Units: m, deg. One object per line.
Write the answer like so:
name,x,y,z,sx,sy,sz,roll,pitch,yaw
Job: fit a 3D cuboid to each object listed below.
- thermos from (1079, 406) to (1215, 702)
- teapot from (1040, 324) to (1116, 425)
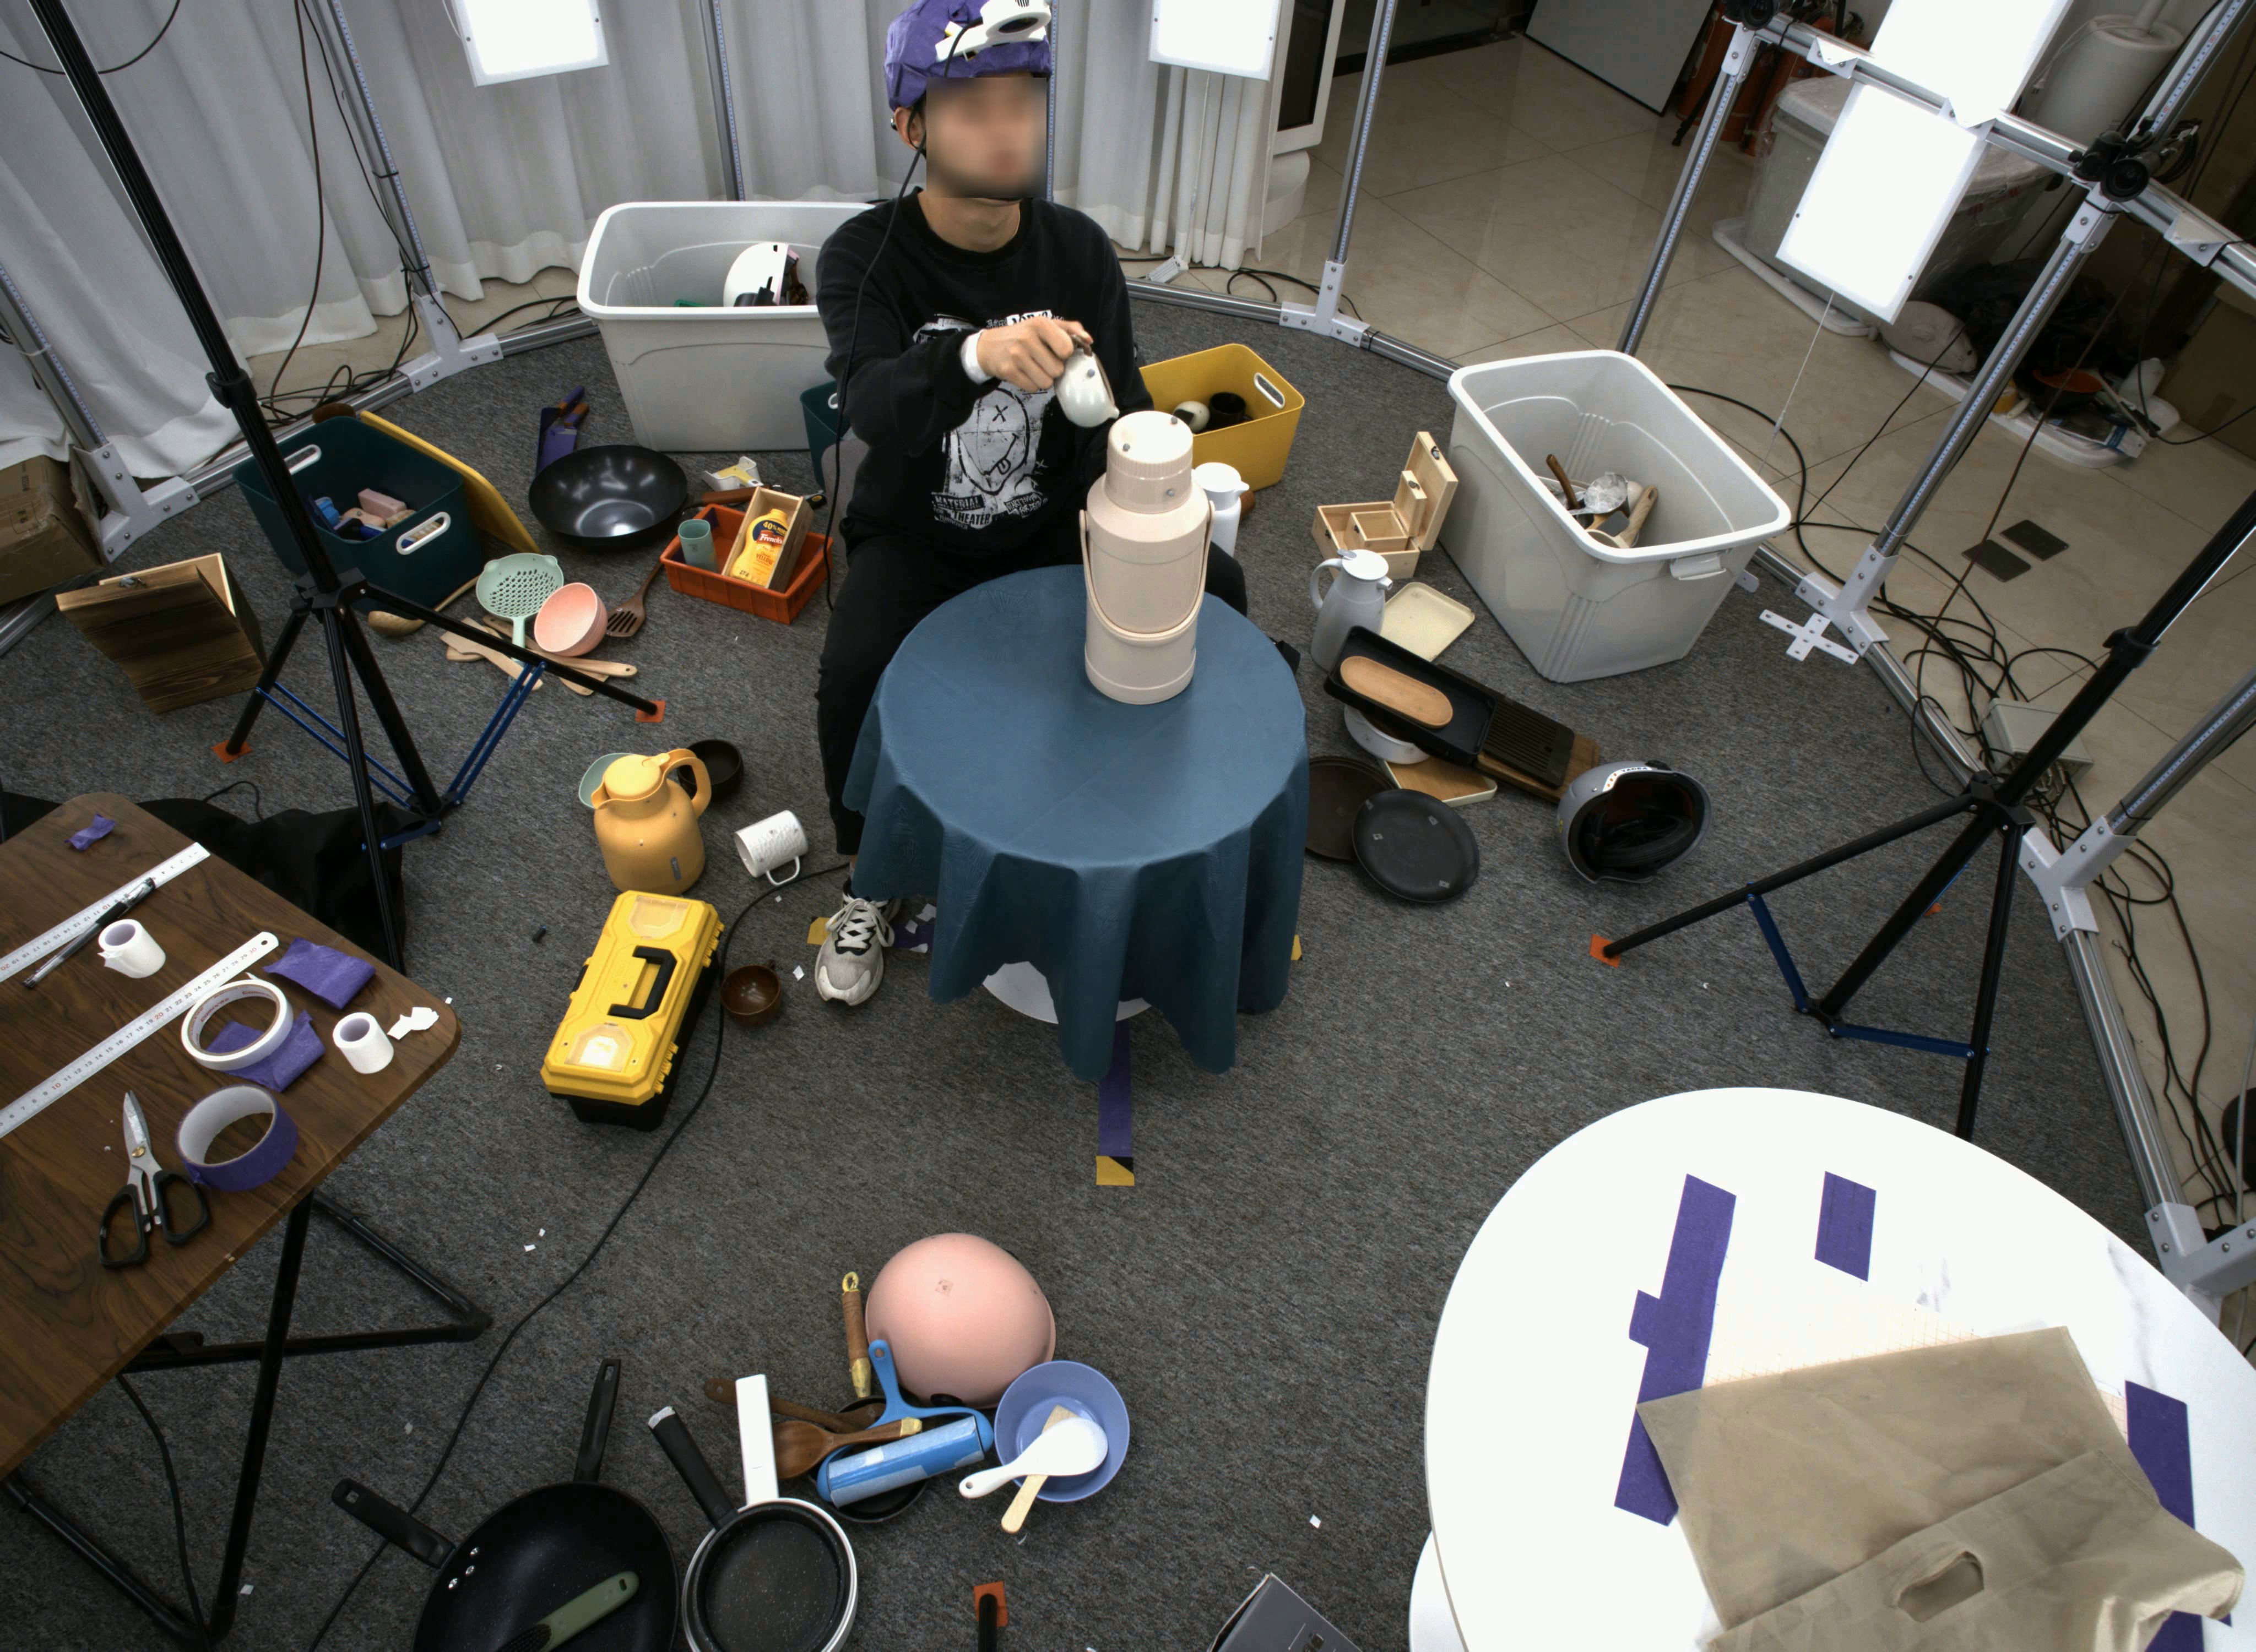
thermos,0.023,-0.369,1.730,0.175,0.396,0.212,-7,53,-5
teapot,-0.060,-0.521,1.506,0.059,0.125,0.094,-16,51,14
